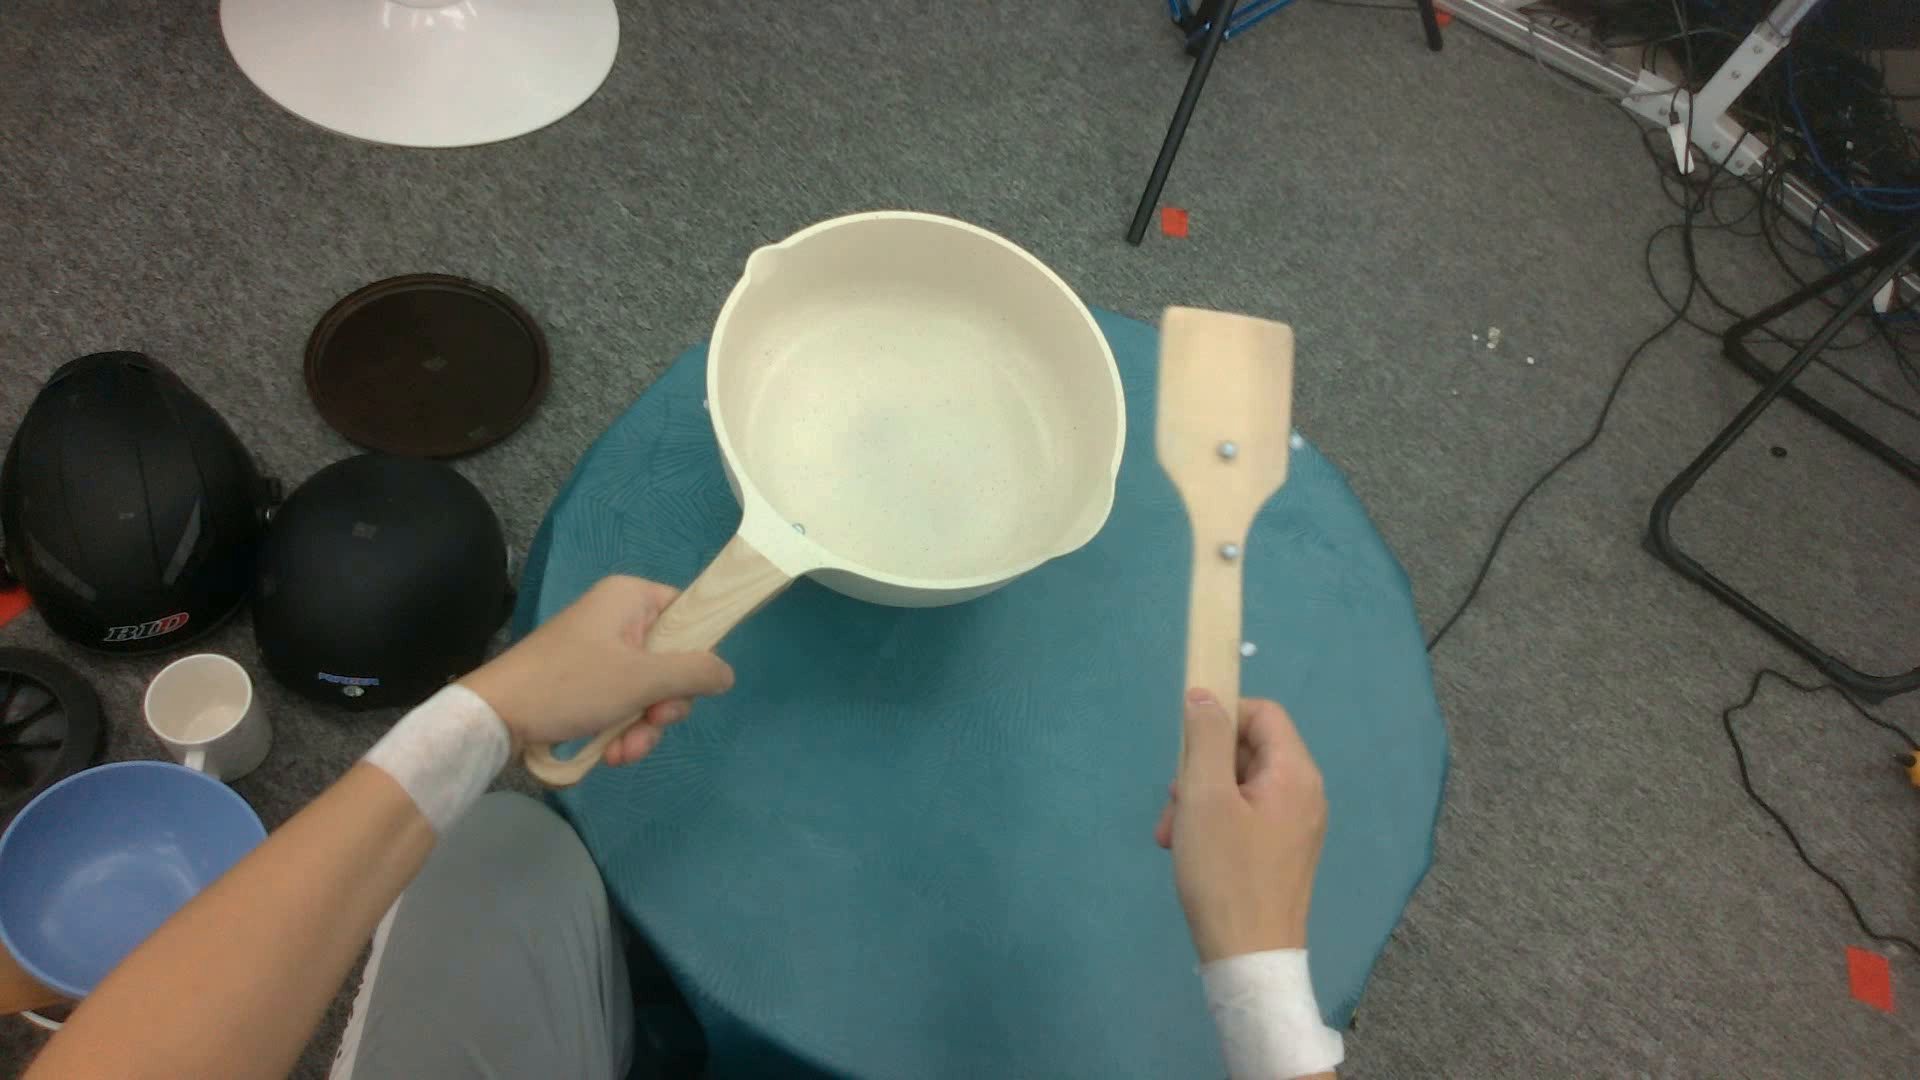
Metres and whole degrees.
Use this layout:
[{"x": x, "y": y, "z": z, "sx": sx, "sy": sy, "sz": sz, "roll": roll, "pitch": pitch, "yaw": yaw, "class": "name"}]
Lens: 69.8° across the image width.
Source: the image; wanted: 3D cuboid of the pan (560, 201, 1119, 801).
[{"x": -0.082, "y": -0.018, "z": 0.808, "sx": 0.263, "sy": 0.101, "sz": 0.437, "roll": 37, "pitch": 64, "yaw": 2, "class": "pan"}]

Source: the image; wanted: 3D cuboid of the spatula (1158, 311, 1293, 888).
[{"x": 0.131, "y": 0.024, "z": 0.692, "sx": 0.072, "sy": 0.010, "sz": 0.293, "roll": 7, "pitch": 75, "yaw": -9, "class": "spatula"}]
